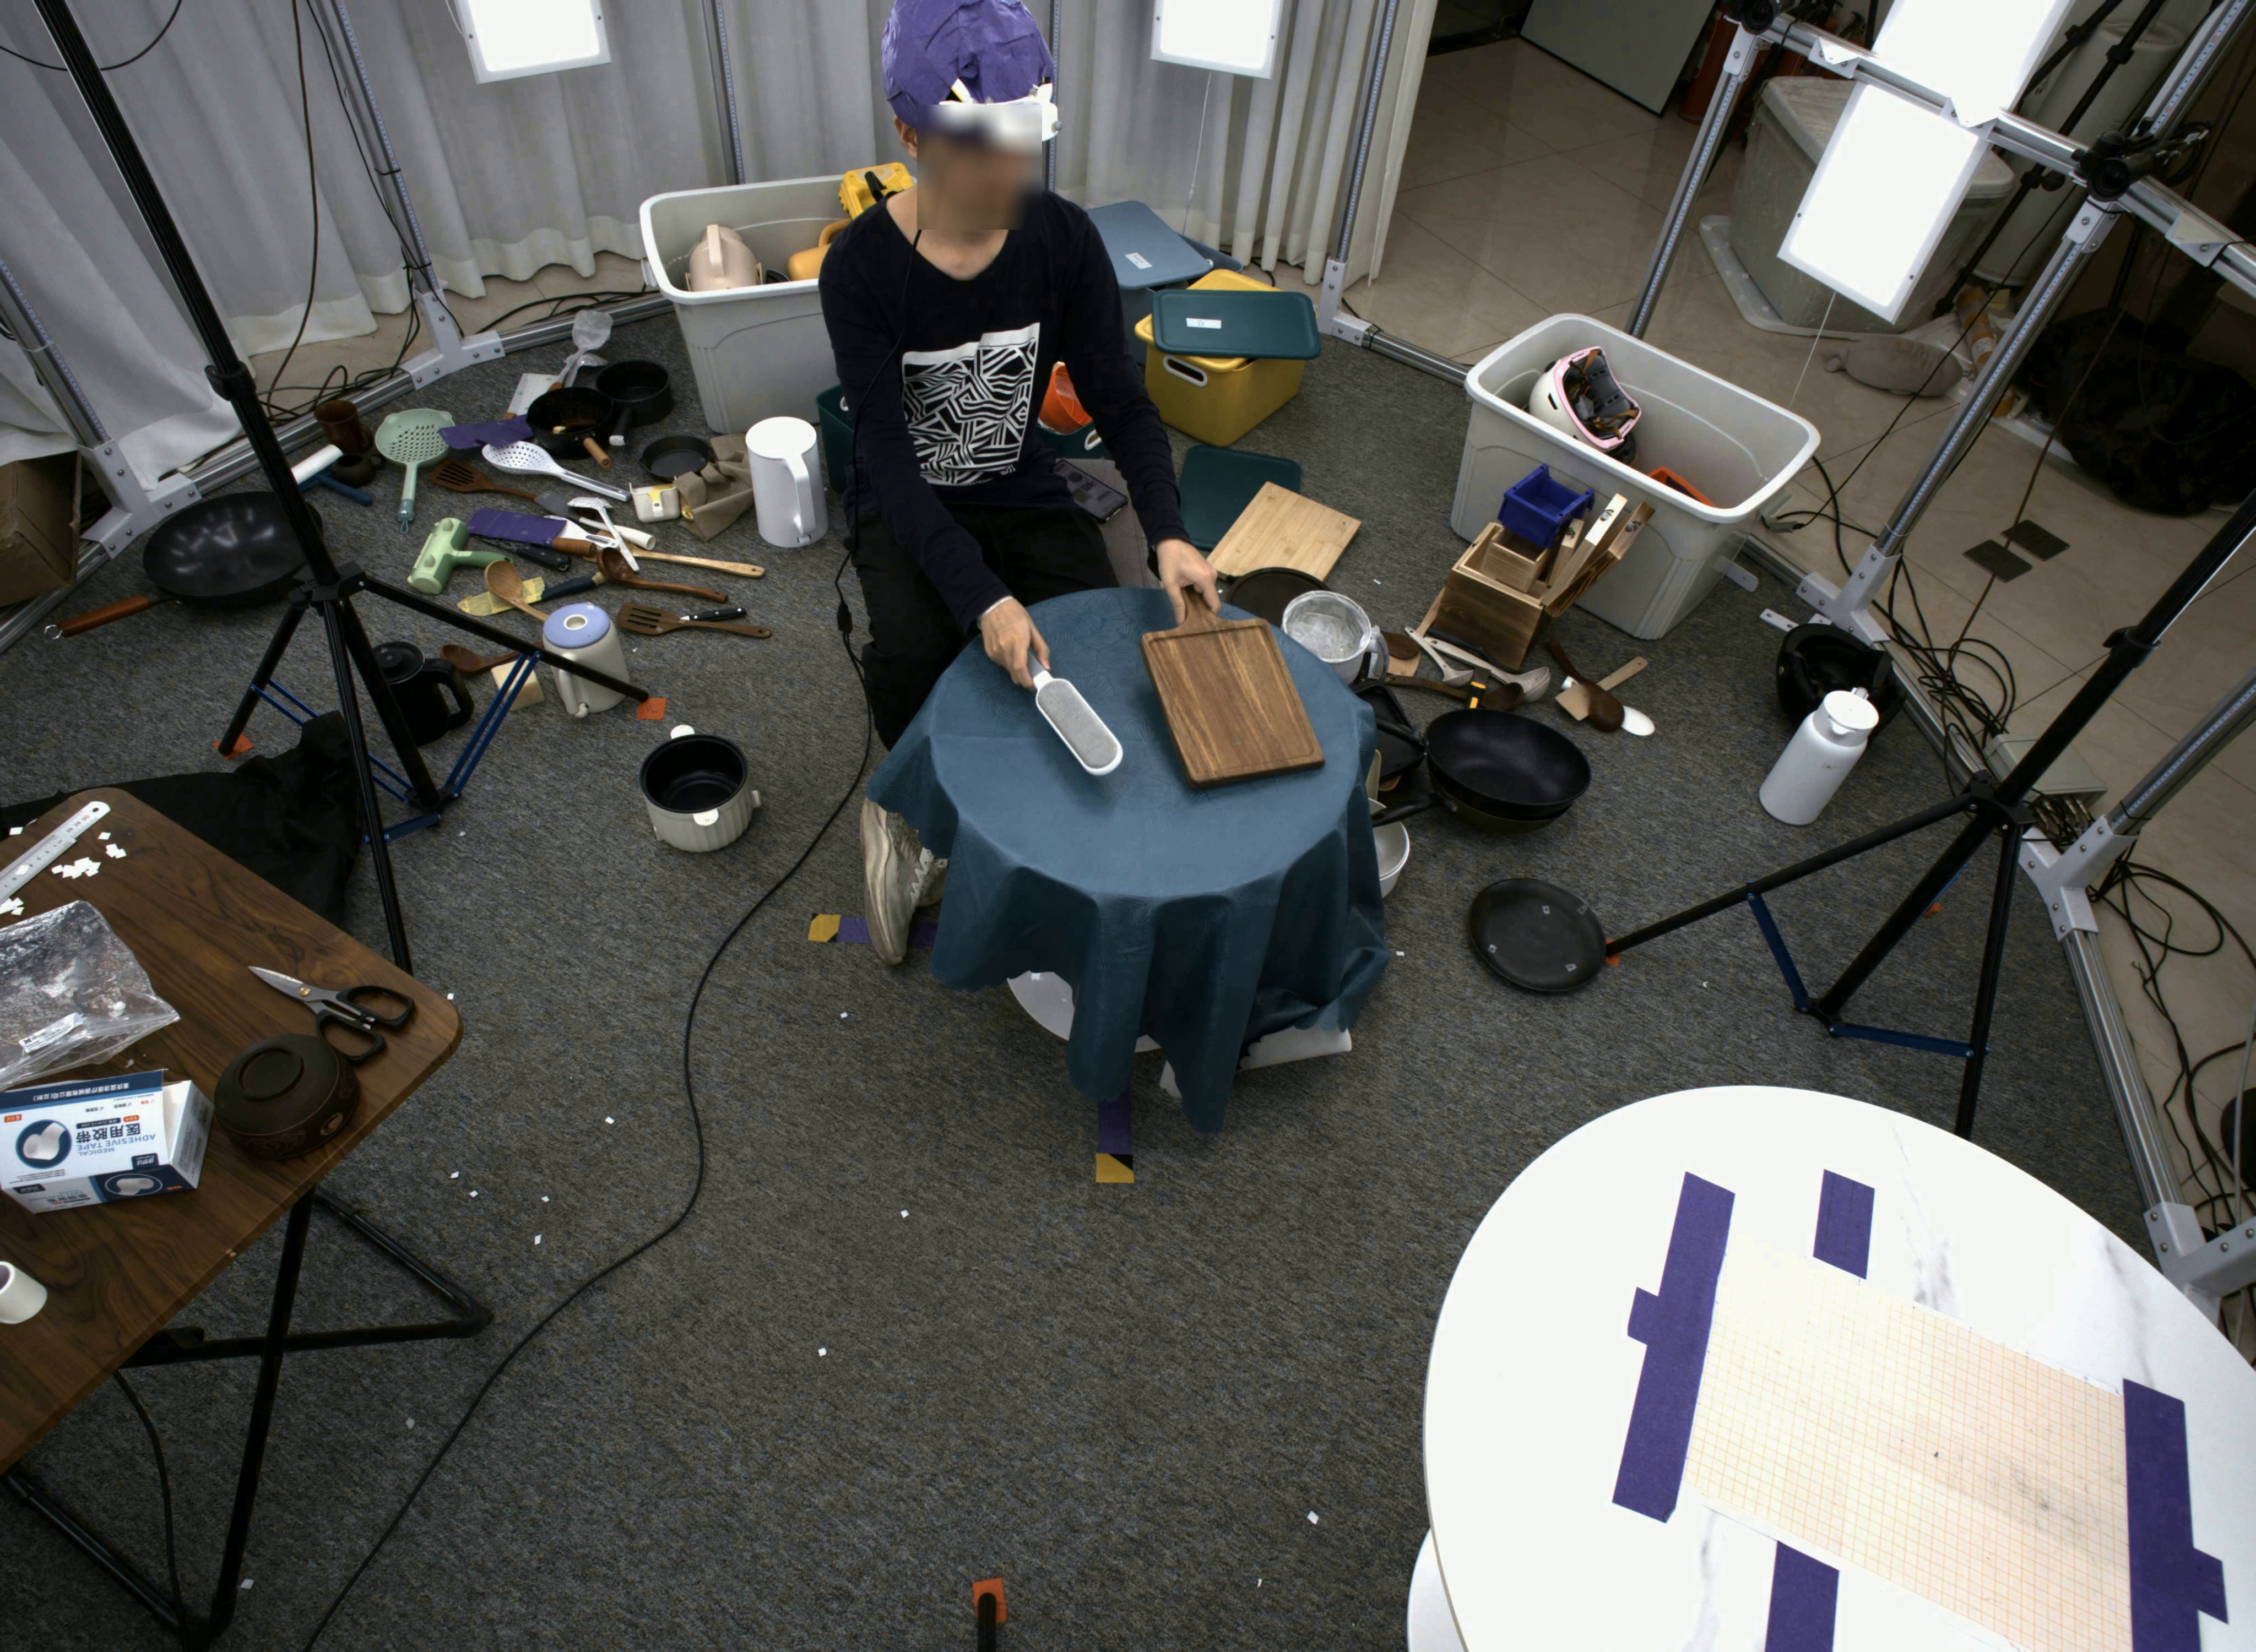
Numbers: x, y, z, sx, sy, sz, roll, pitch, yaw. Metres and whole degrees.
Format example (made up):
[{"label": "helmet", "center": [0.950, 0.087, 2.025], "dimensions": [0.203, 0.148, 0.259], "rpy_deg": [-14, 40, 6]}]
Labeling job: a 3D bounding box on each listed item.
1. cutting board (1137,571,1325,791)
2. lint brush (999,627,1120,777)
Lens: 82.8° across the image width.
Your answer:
[{"label": "cutting board", "center": [0.127, -0.218, 1.805], "dimensions": [0.201, 0.023, 0.359], "rpy_deg": [-11, 61, -15]}, {"label": "lint brush", "center": [-0.099, -0.176, 1.754], "dimensions": [0.060, 0.020, 0.315], "rpy_deg": [-38, 55, 2]}]
